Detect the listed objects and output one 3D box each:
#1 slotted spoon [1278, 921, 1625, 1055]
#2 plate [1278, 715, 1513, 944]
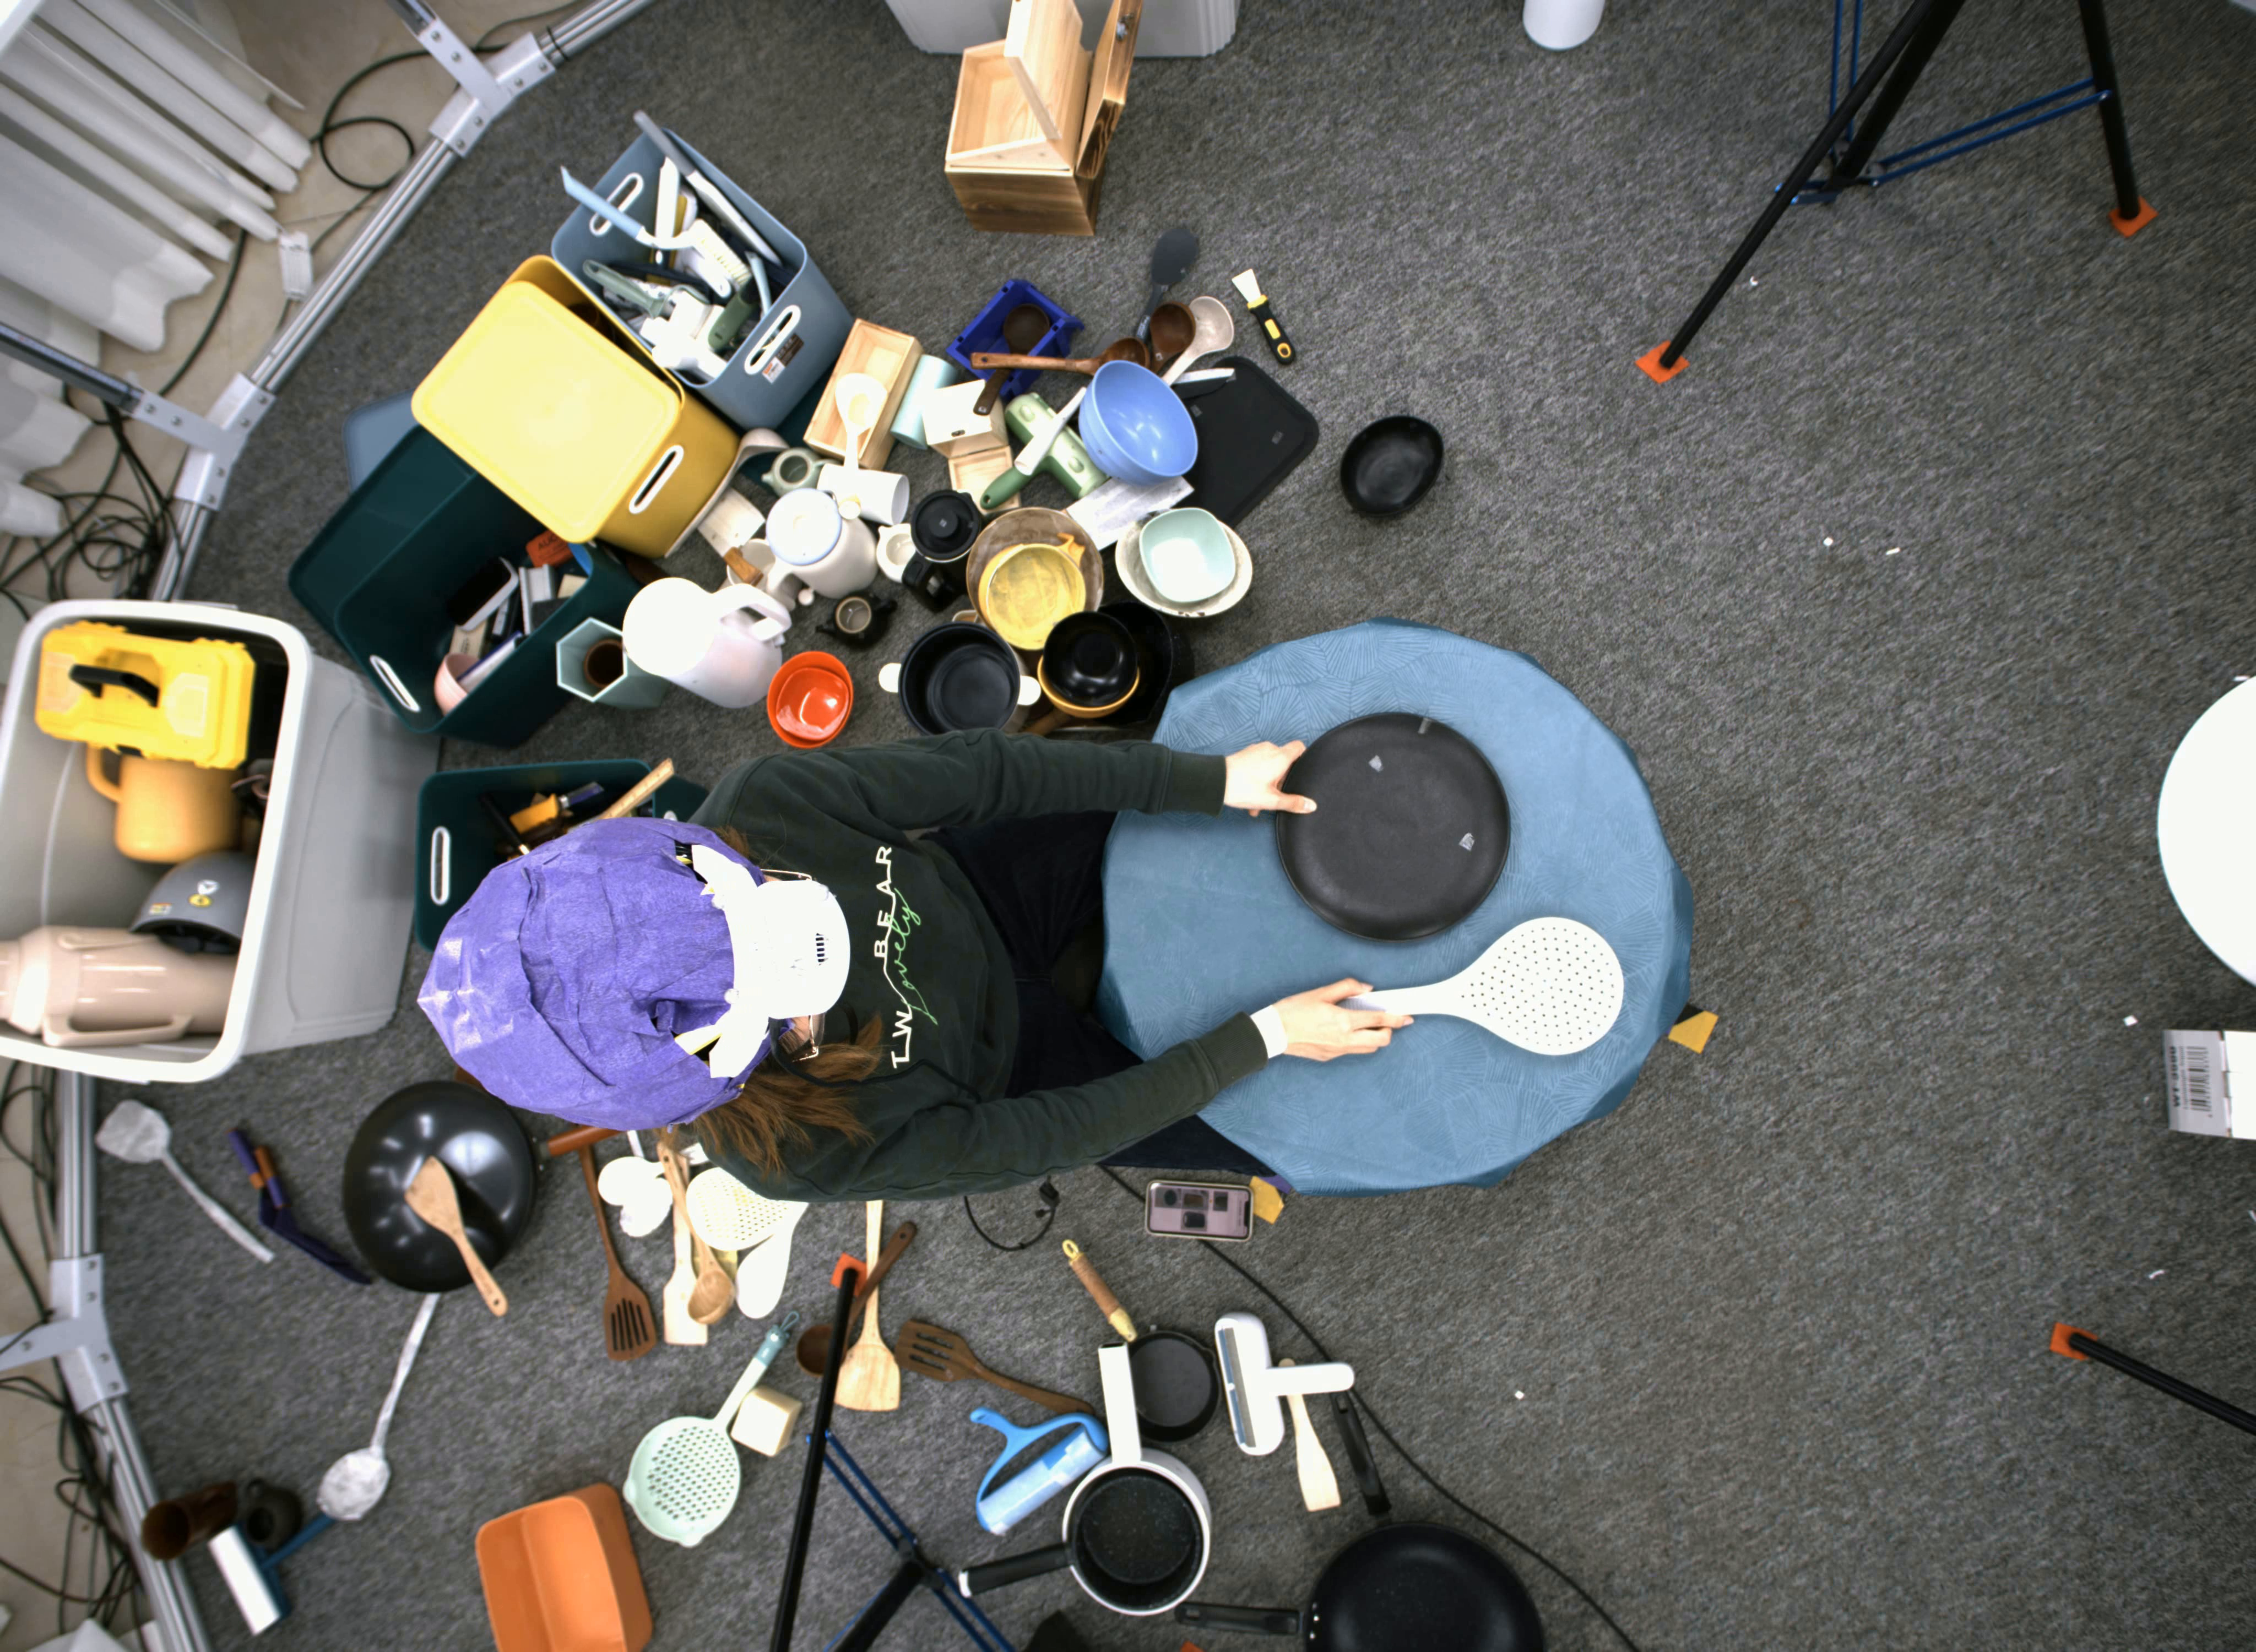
[{"bbox_3d":[0.328,0.177,1.424,0.351,0.046,0.134,-7,78,11],"label":"slotted spoon"},{"bbox_3d":[0.281,0.003,1.455,0.245,0.023,0.243,-1,87,10],"label":"plate"}]
